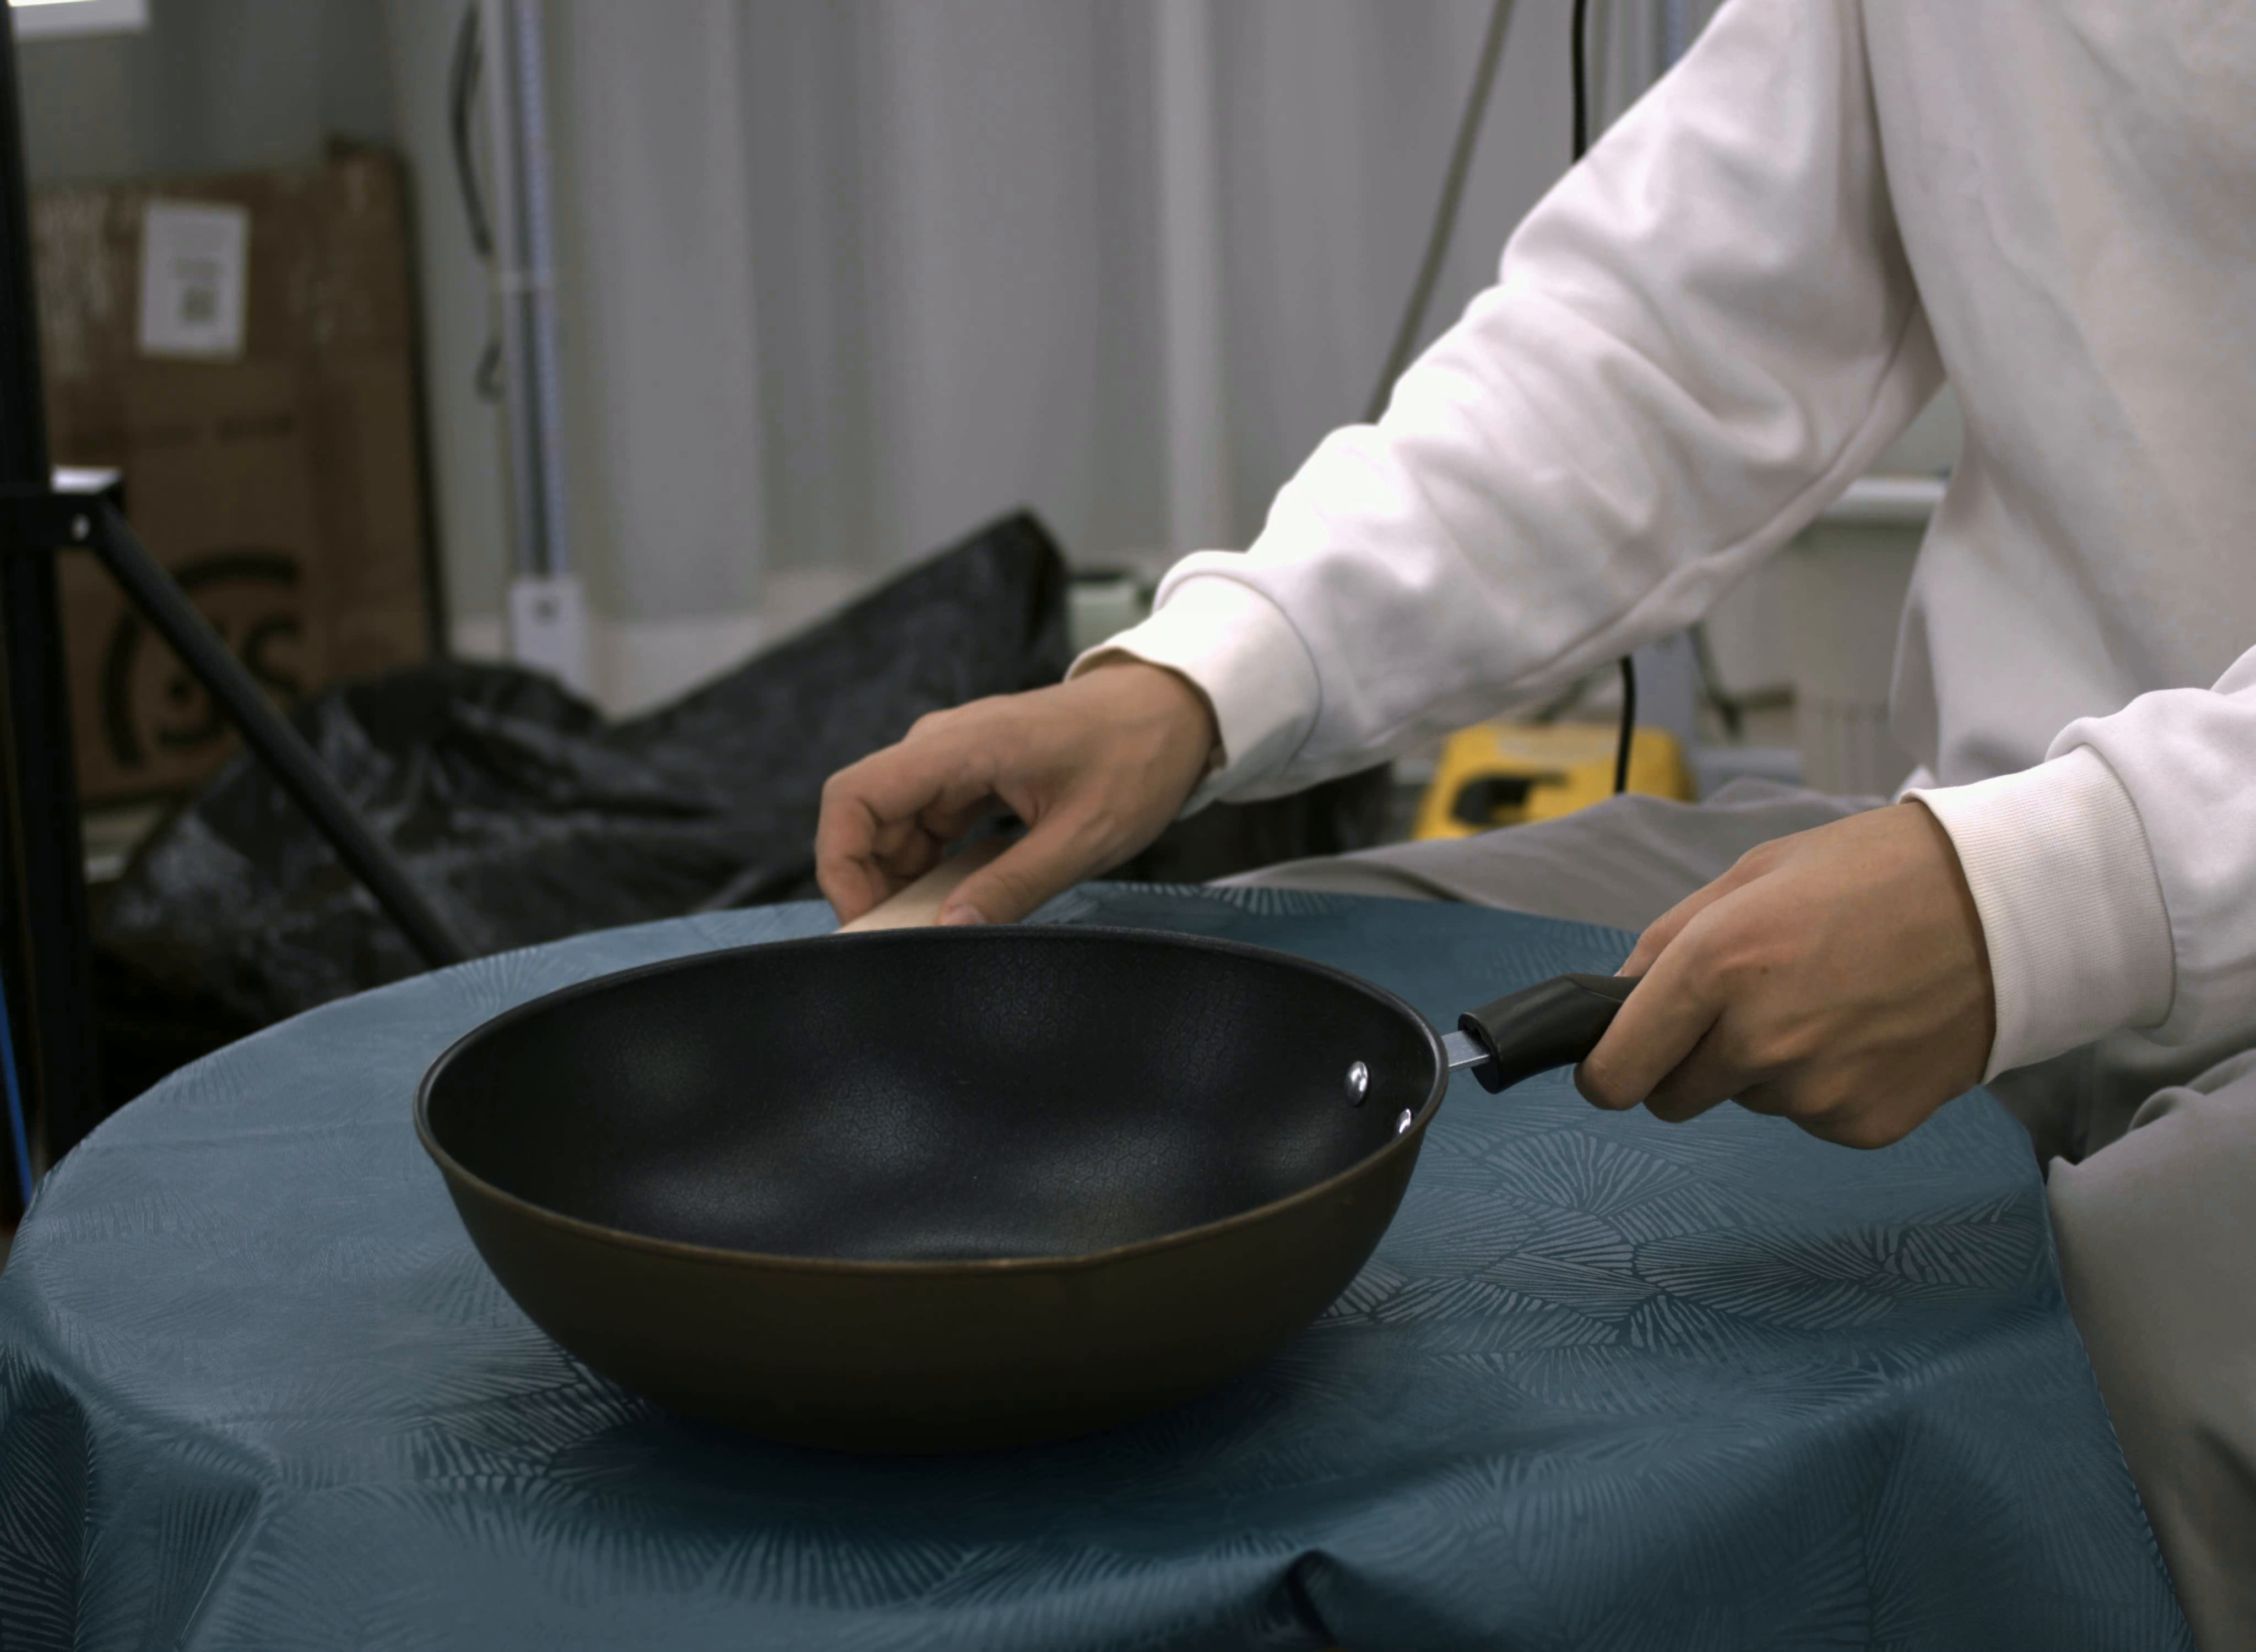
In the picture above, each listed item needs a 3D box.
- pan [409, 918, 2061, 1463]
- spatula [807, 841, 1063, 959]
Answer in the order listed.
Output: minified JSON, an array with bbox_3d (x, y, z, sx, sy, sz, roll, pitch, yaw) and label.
[{"bbox_3d":[0.036,0.094,1.450,0.456,0.087,0.292,-6,17,-13],"label":"pan"},{"bbox_3d":[-0.104,0.055,1.704,0.073,0.010,0.288,16,27,26],"label":"spatula"}]
